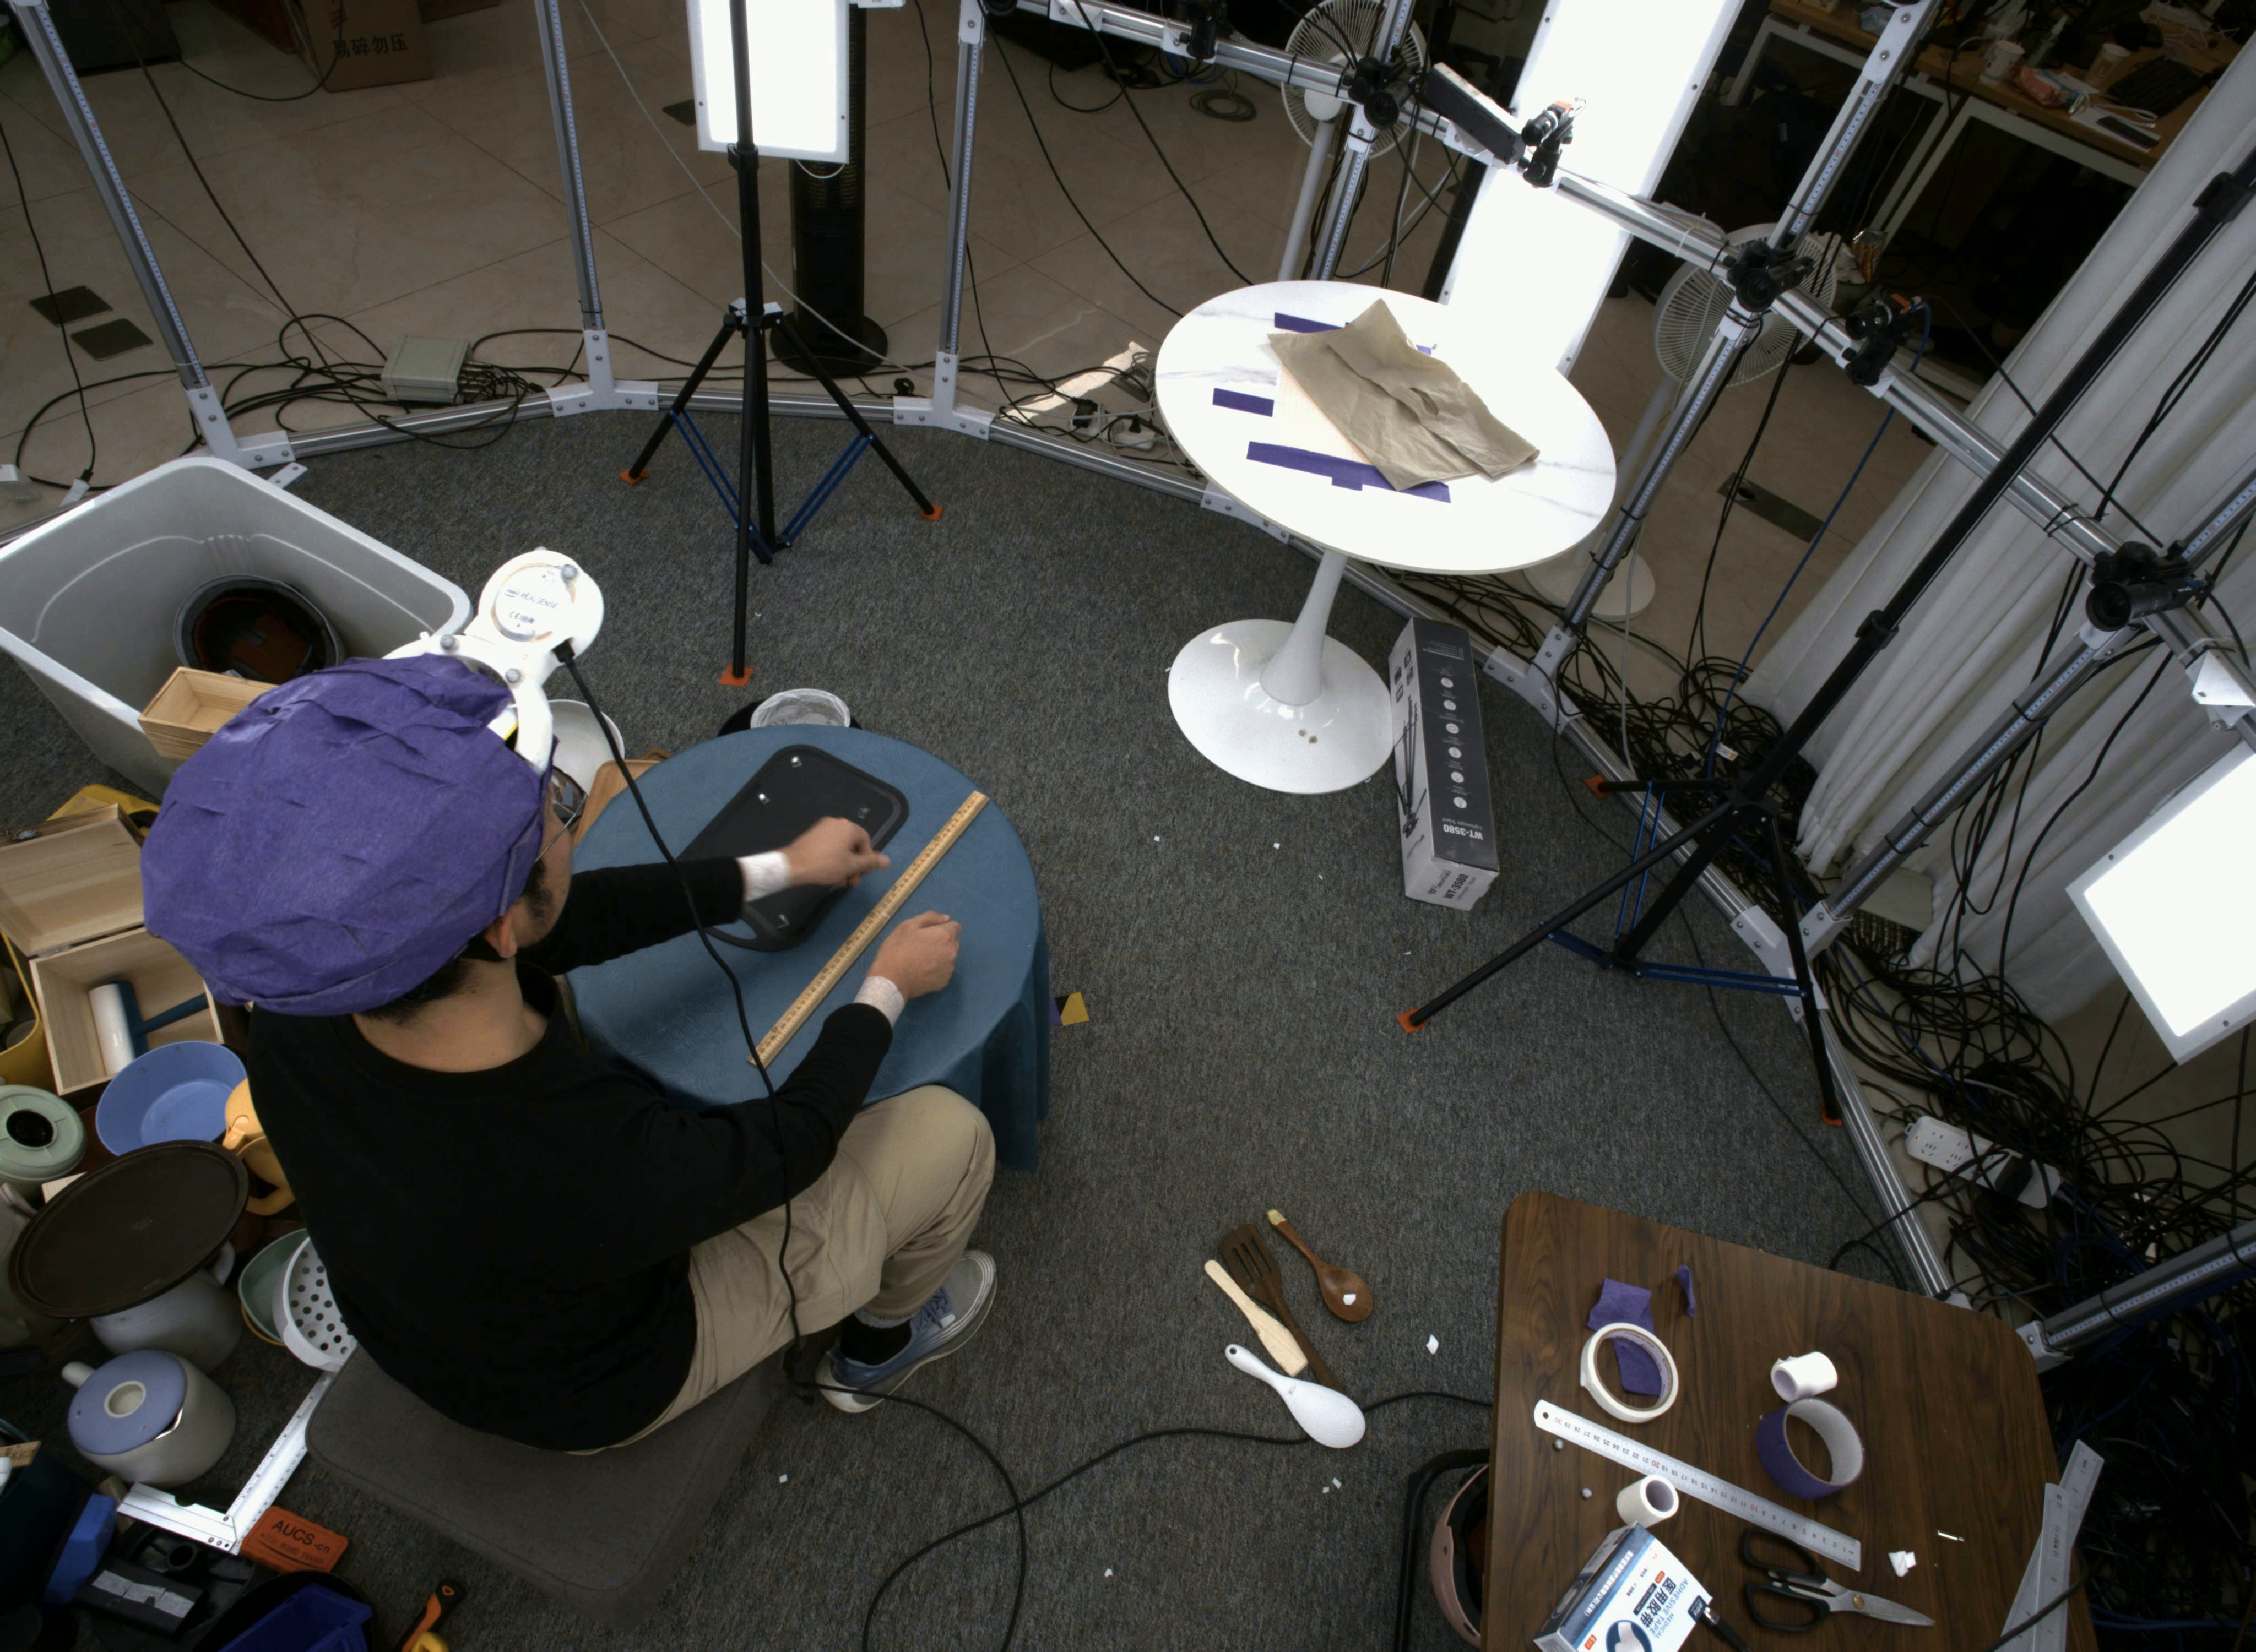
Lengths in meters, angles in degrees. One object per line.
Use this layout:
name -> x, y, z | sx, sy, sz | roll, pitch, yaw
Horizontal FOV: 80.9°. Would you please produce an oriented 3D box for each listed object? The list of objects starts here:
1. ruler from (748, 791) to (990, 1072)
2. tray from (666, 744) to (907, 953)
ruler -> -0.318, 0.116, 1.656 | 0.026, 0.006, 0.498 | 28, 52, 10
tray -> -0.445, 0.025, 1.690 | 0.208, 0.010, 0.324 | 28, 52, 7
